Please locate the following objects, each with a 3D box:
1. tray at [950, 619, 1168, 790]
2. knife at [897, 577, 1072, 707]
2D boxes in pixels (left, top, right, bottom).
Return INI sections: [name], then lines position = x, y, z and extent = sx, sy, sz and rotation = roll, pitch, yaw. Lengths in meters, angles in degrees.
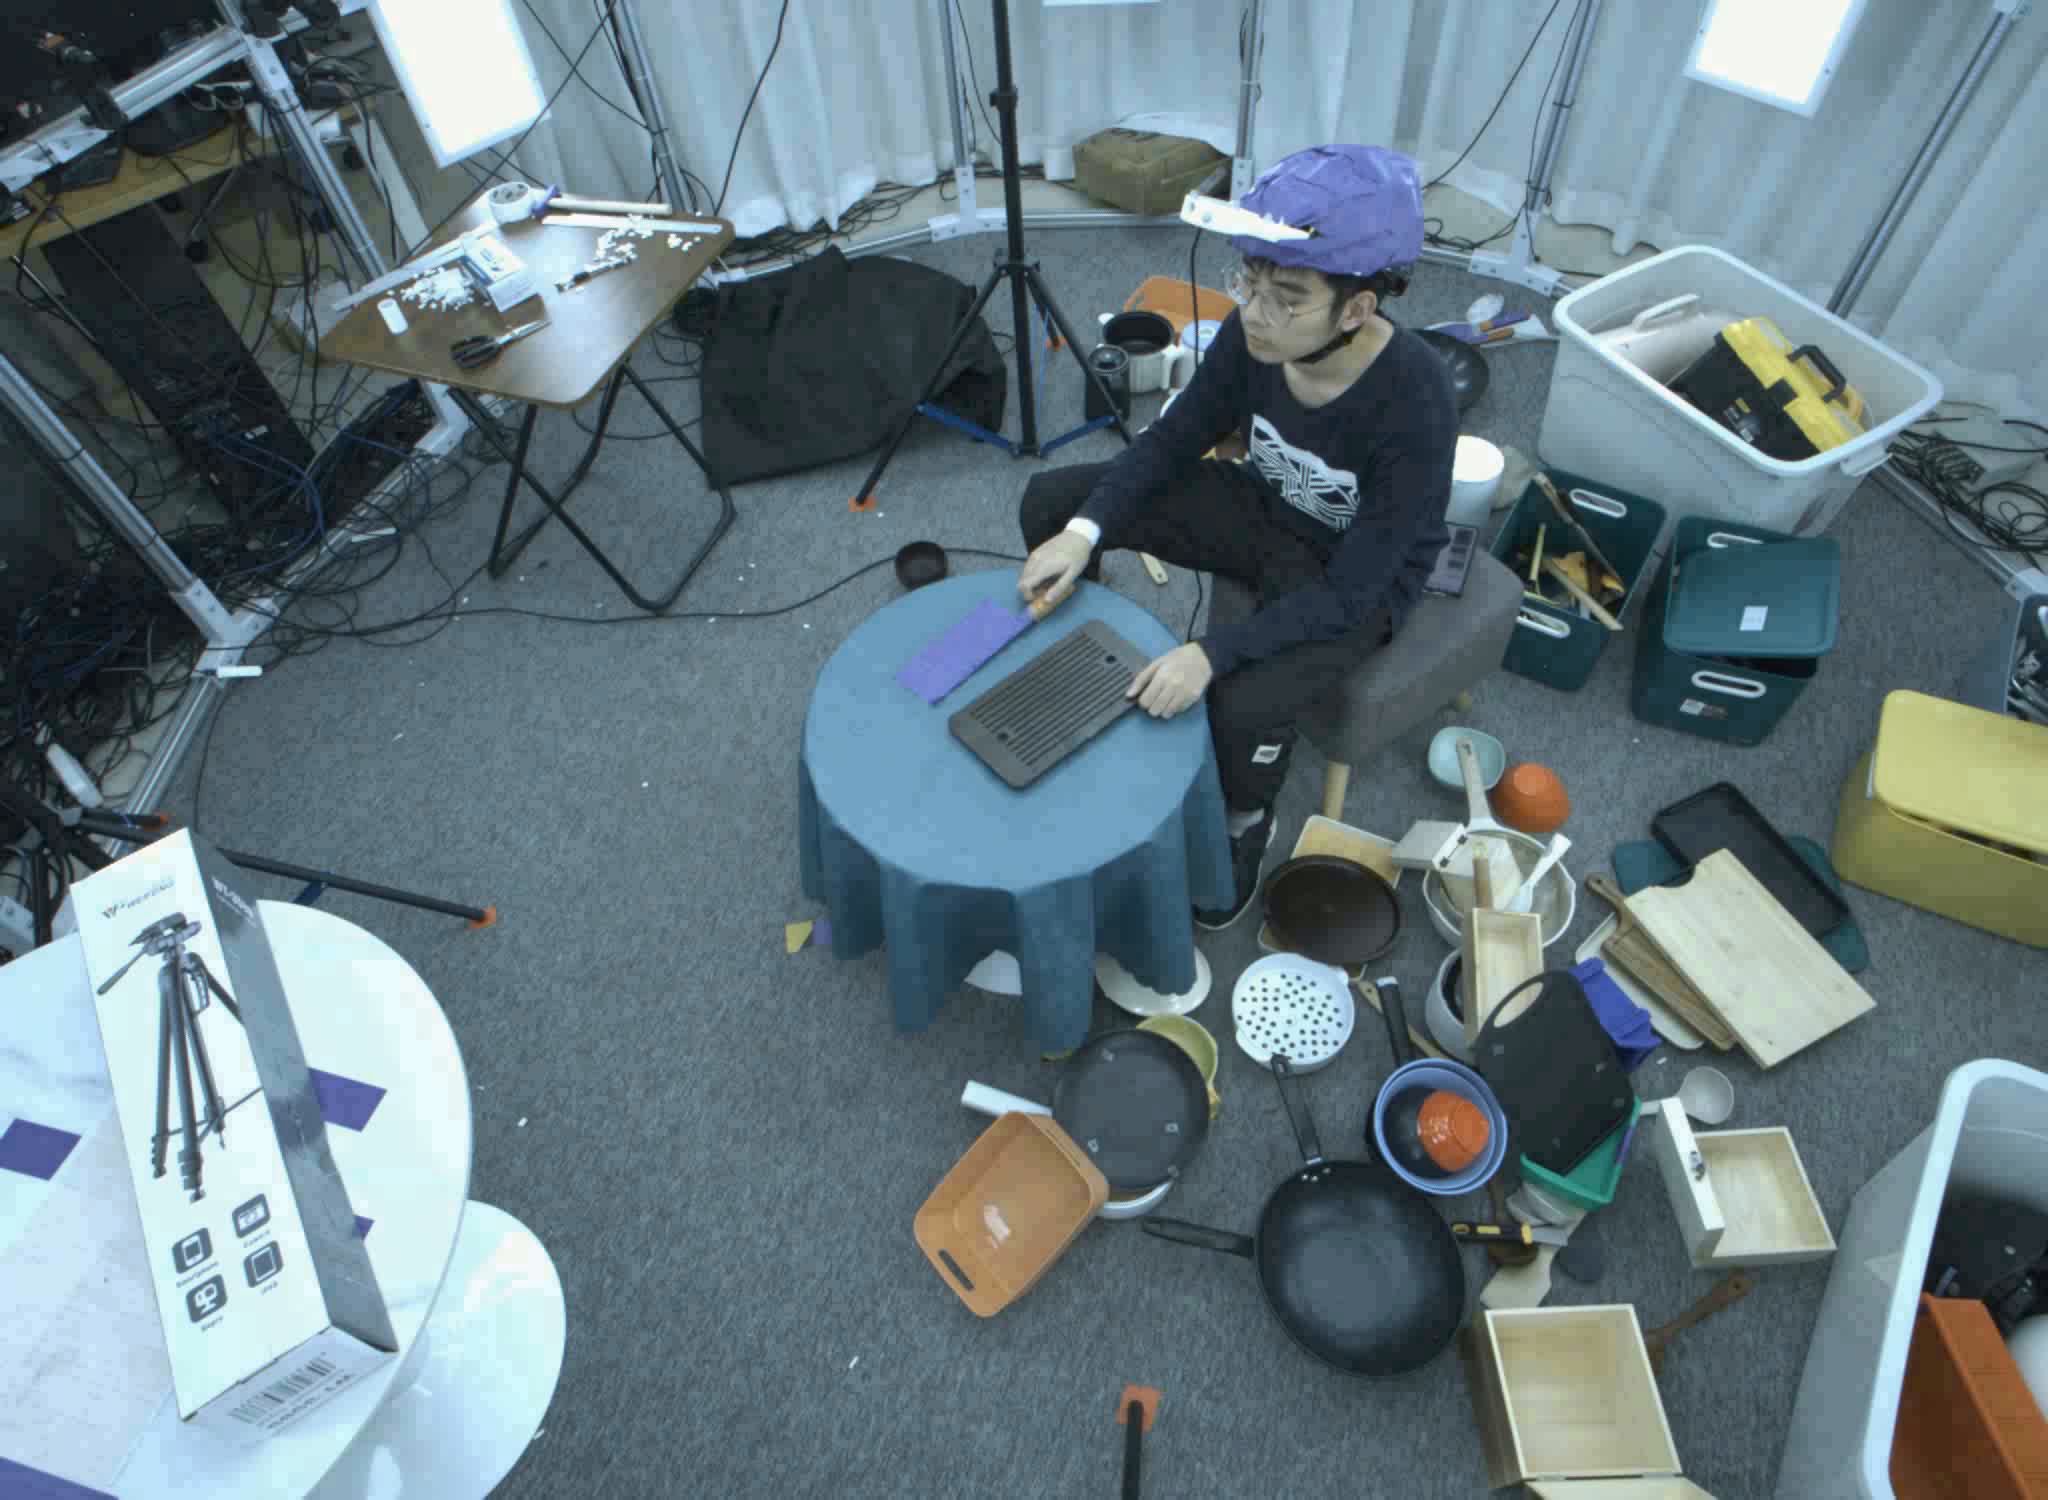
[tray]
position = 0.053, -0.071, 1.834
extent = 0.308, 0.019, 0.167
rotation = -36, 61, -22
[knife]
position = -0.063, -0.187, 1.914
extent = 0.102, 0.032, 0.317
rotation = 37, 64, 24
